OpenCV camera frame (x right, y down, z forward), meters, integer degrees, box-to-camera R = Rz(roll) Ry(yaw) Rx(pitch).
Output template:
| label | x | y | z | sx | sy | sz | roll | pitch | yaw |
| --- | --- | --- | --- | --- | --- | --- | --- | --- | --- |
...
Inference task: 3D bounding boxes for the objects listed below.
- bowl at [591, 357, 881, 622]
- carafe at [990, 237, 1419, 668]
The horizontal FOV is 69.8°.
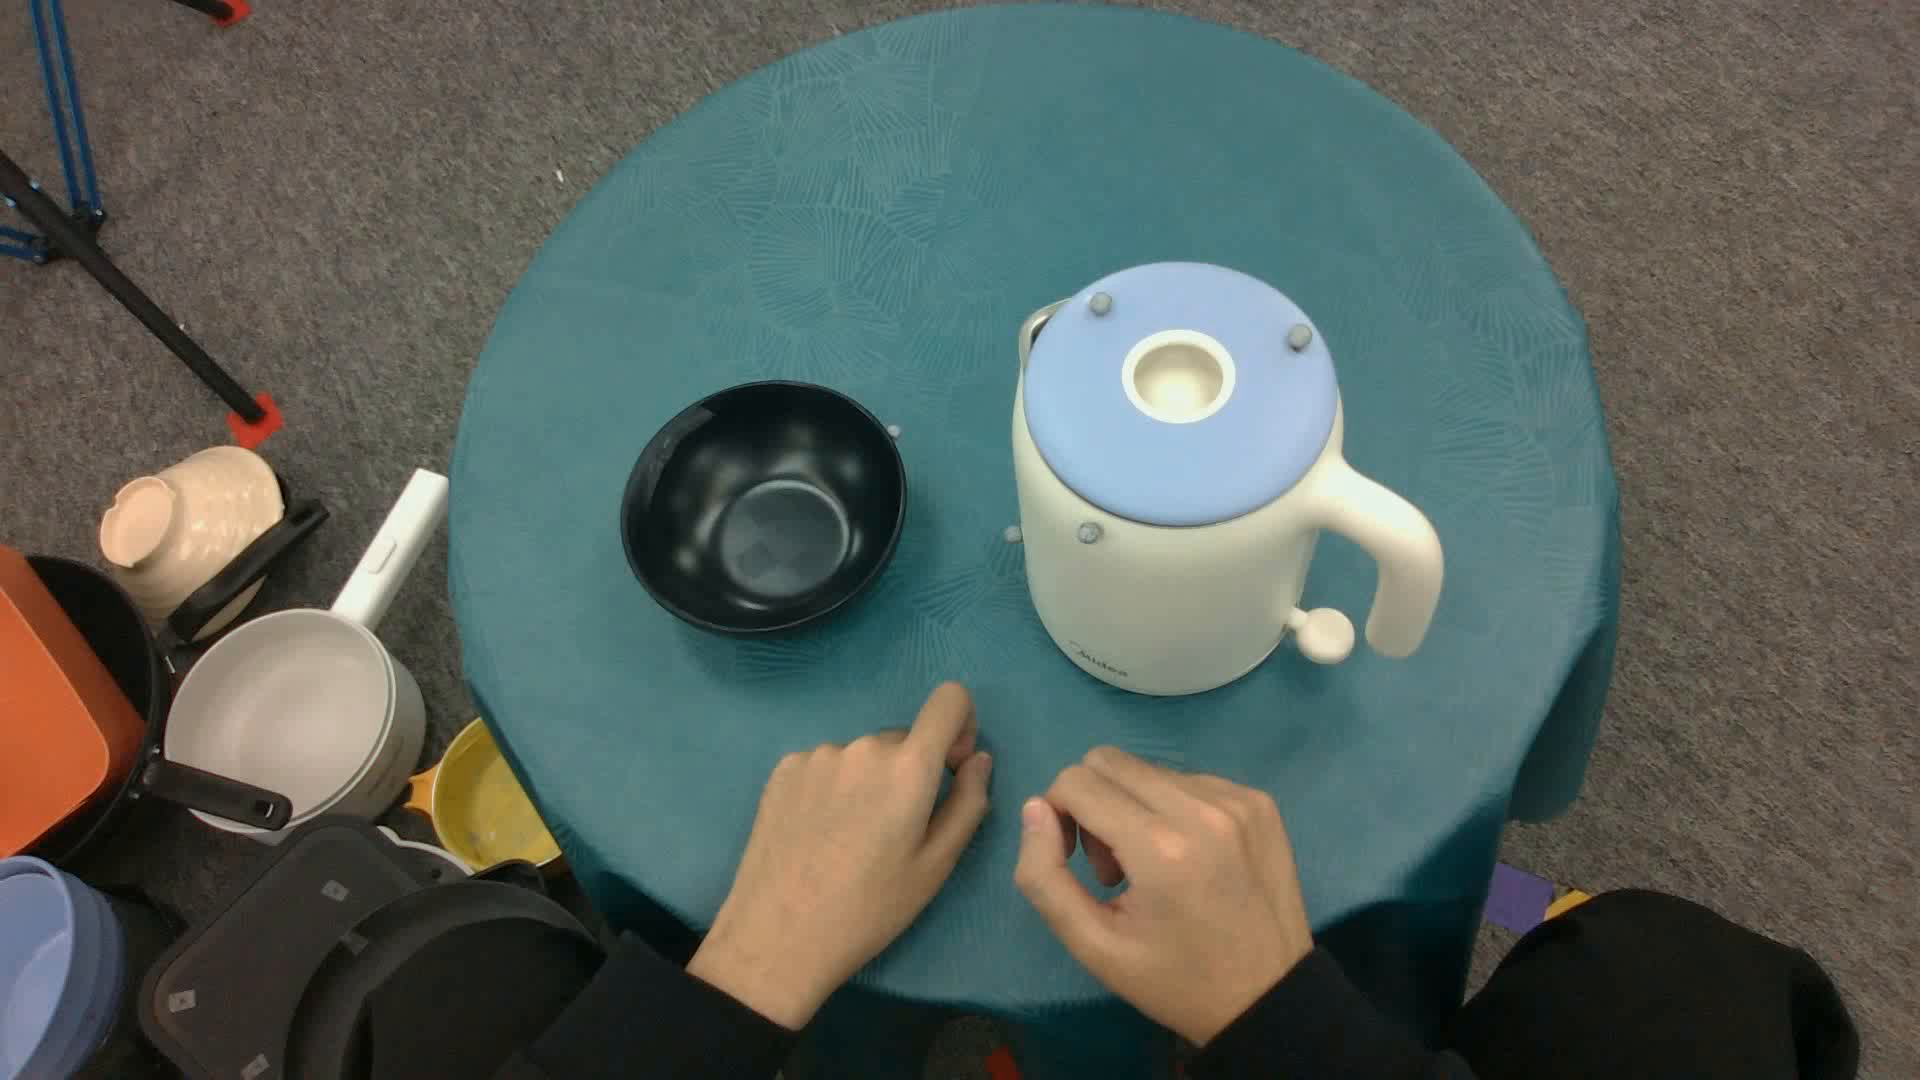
| label | x | y | z | sx | sy | sz | roll | pitch | yaw |
| --- | --- | --- | --- | --- | --- | --- | --- | --- | --- |
| bowl | -0.106 | -0.018 | 0.674 | 0.140 | 0.049 | 0.140 | -1 | 65 | 3 |
| carafe | 0.101 | -0.021 | 0.592 | 0.191 | 0.182 | 0.132 | 27 | 69 | 14 |
